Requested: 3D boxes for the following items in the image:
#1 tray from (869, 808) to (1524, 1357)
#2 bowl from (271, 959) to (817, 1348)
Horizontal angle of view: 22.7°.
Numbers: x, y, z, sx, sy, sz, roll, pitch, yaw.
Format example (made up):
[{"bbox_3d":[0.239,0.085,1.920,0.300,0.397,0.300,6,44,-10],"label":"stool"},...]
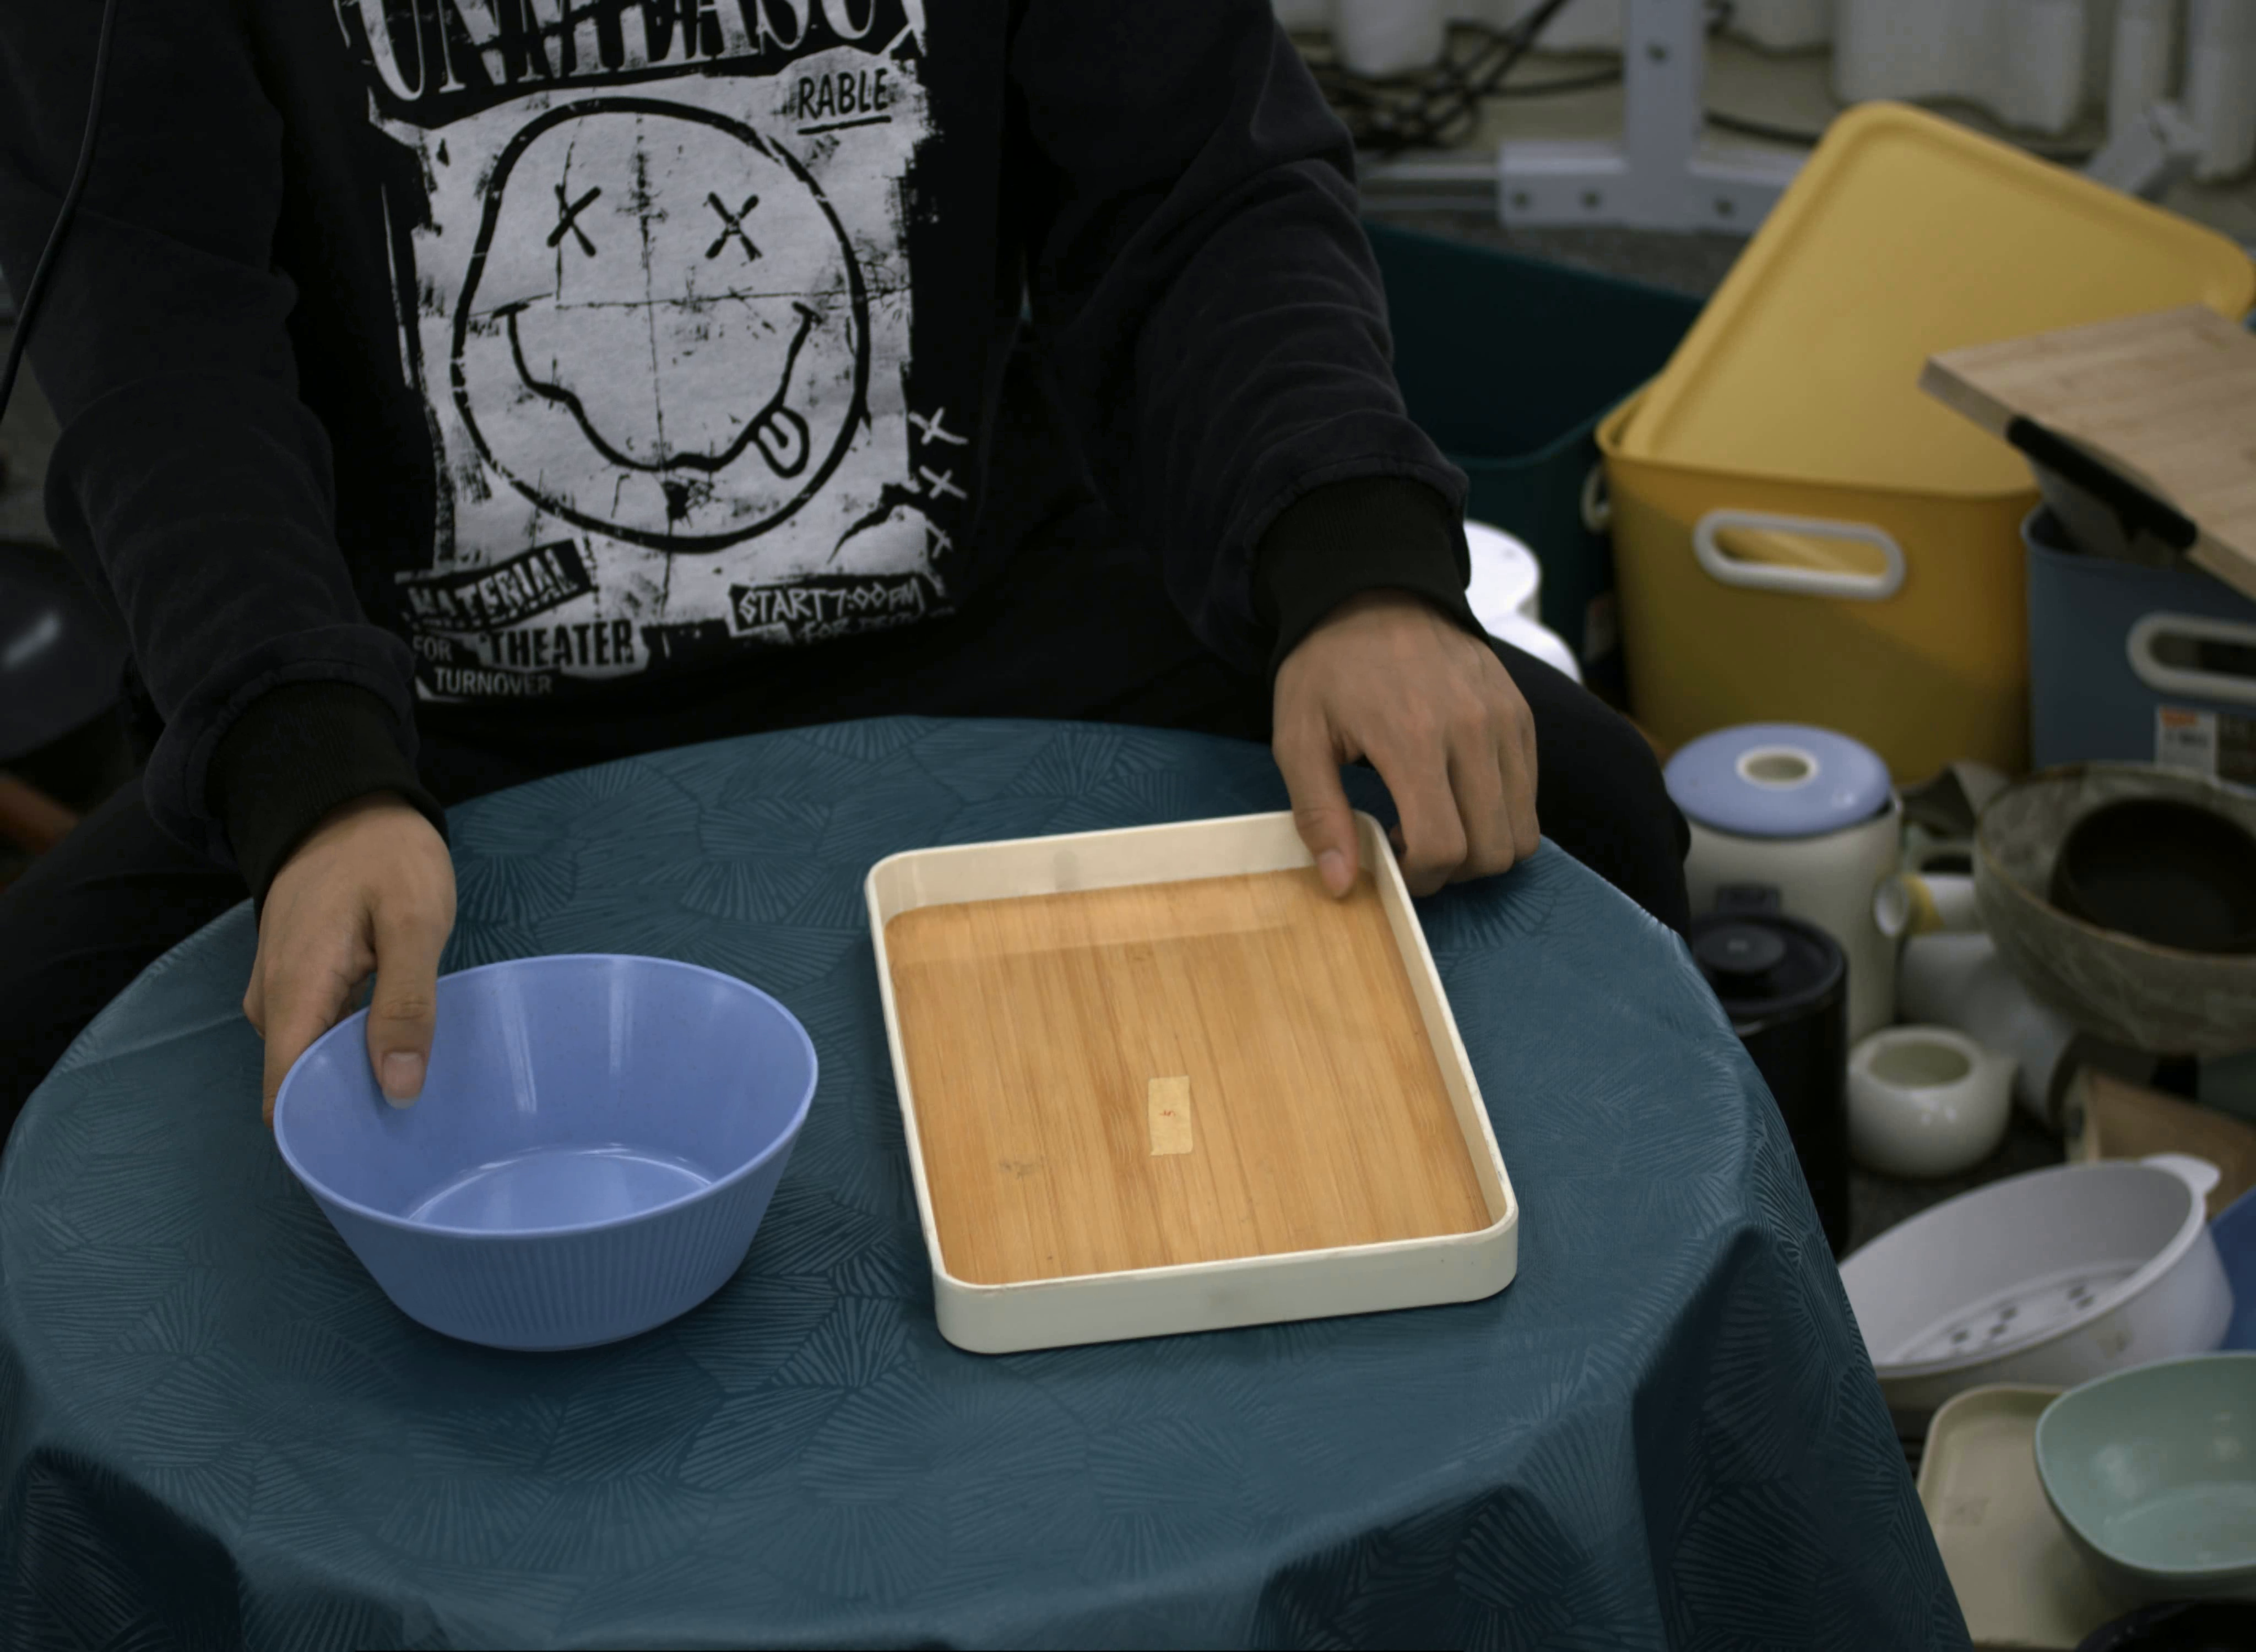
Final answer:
[{"bbox_3d":[0.017,0.082,1.909,0.191,0.027,0.304,-6,28,-5],"label":"tray"},{"bbox_3d":[-0.187,0.112,1.821,0.175,0.069,0.179,-1,27,1],"label":"bowl"}]
